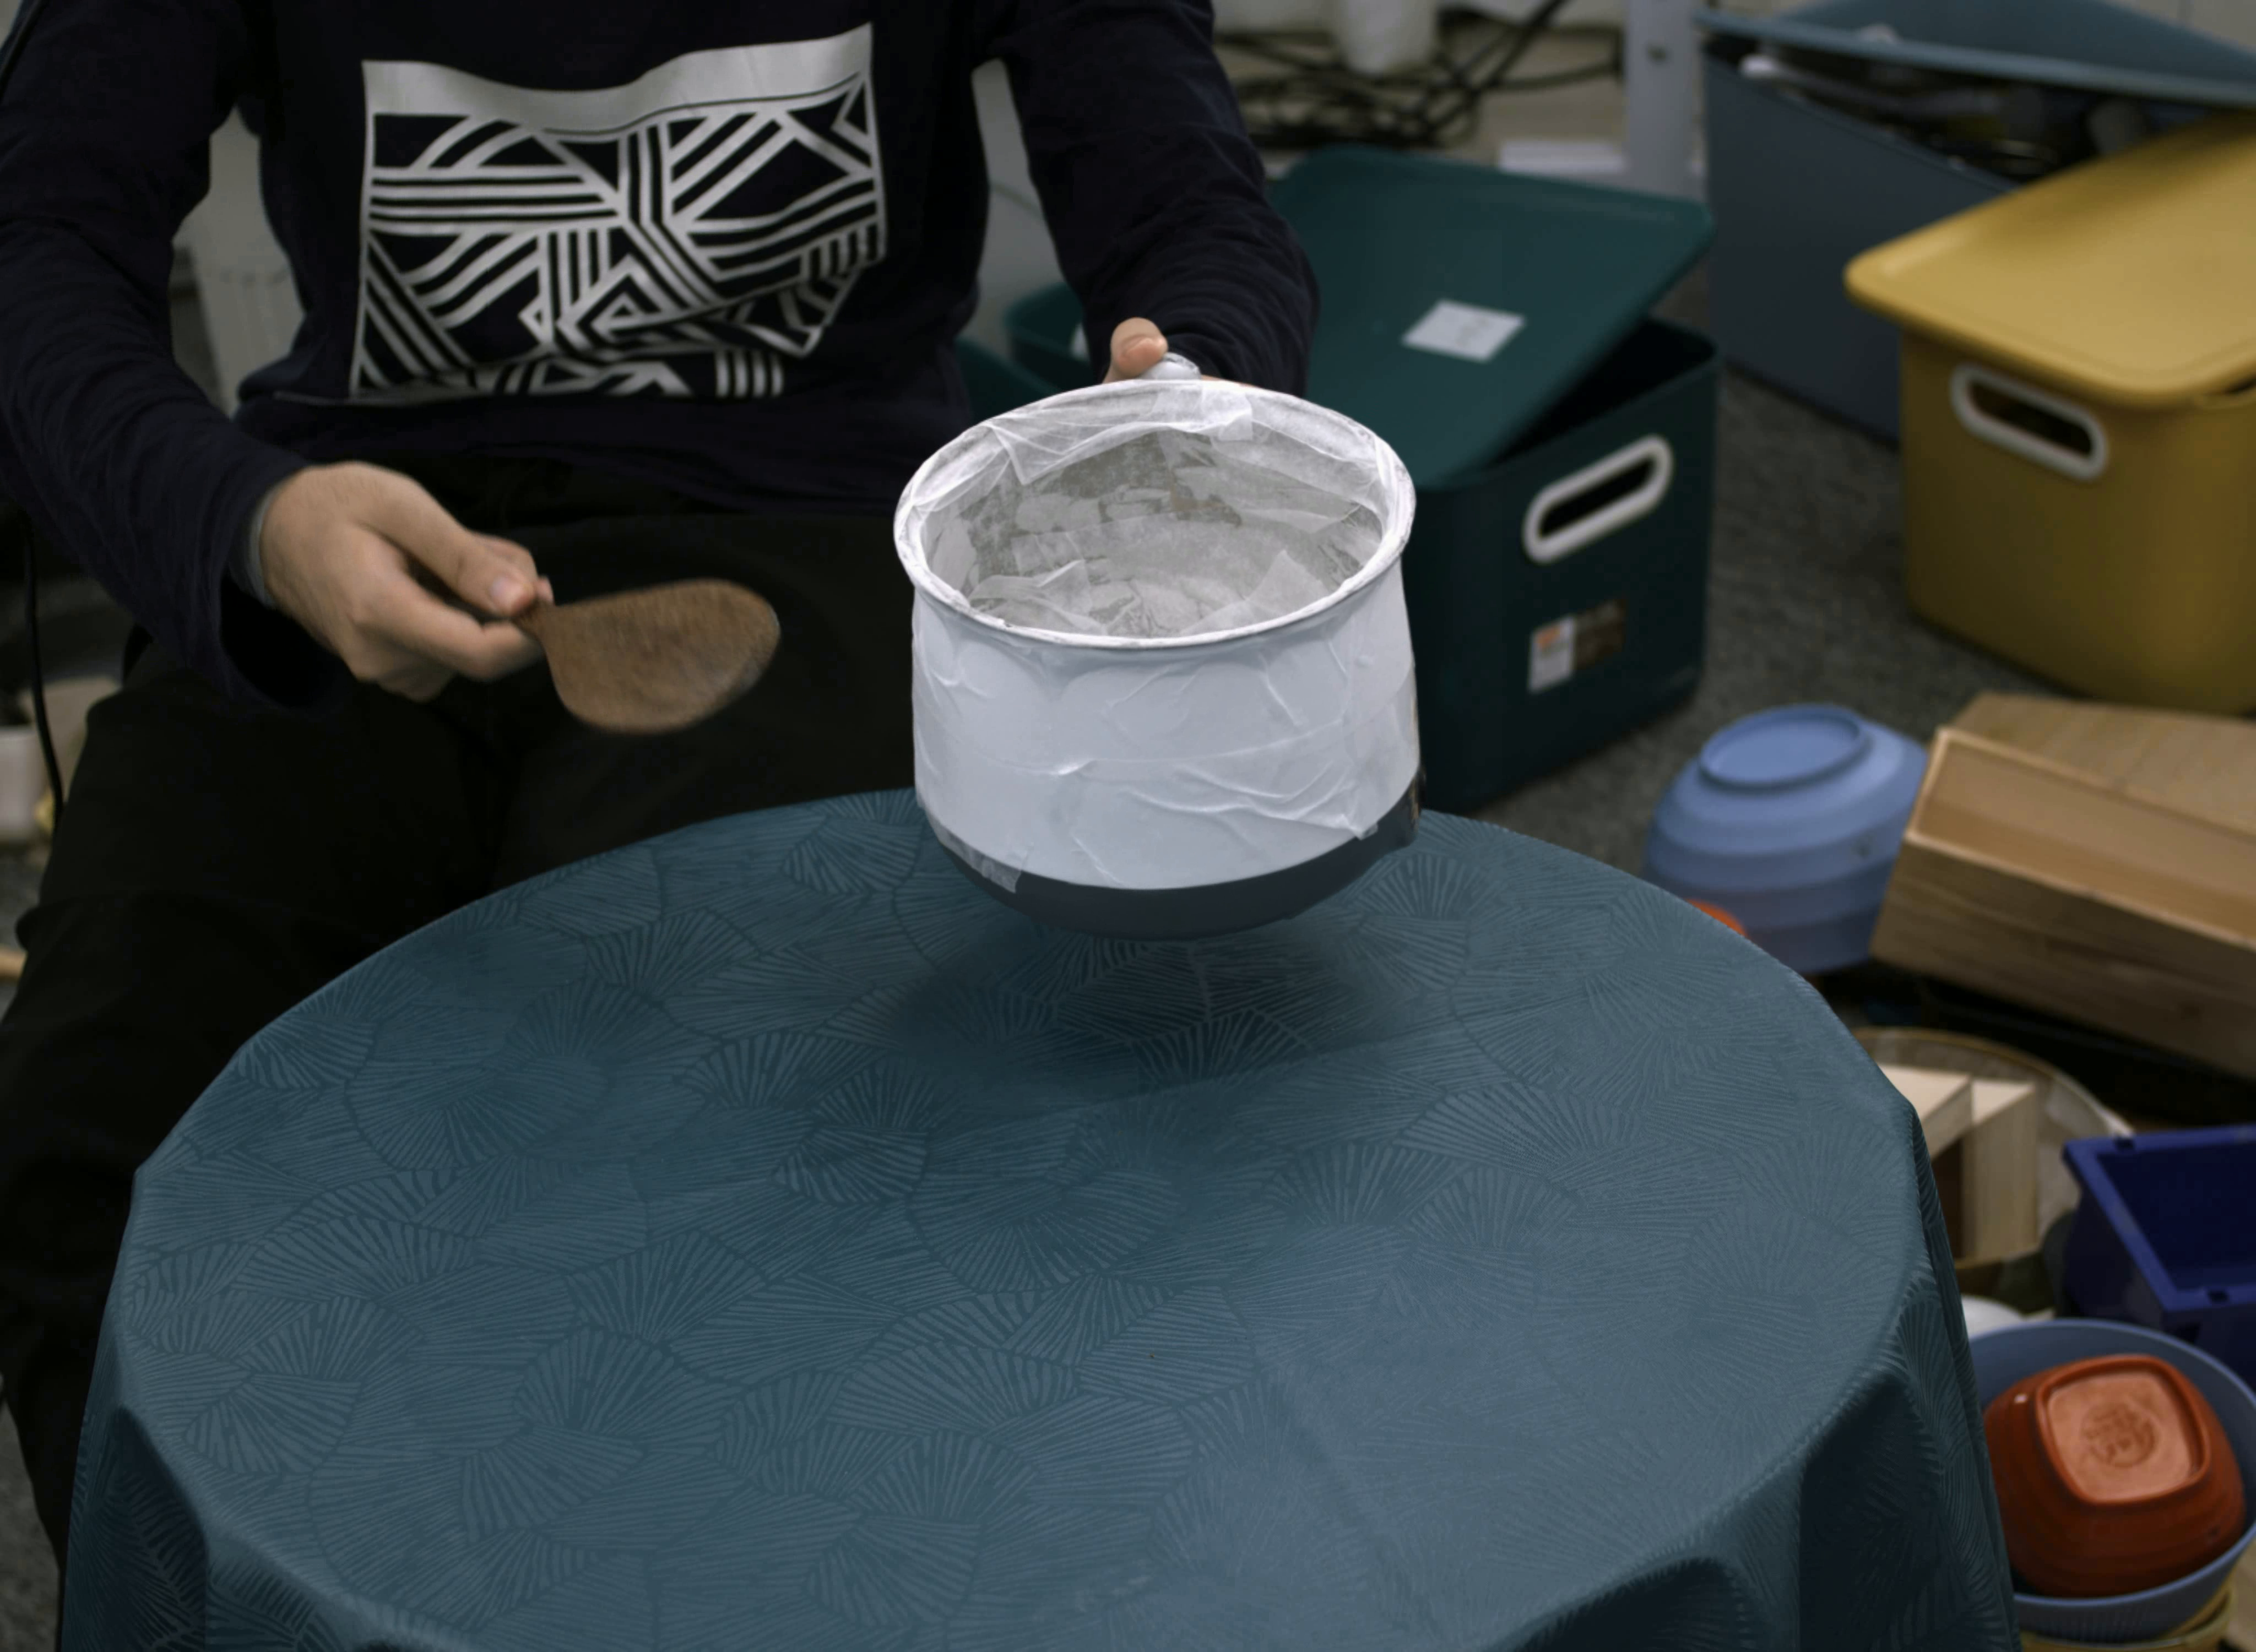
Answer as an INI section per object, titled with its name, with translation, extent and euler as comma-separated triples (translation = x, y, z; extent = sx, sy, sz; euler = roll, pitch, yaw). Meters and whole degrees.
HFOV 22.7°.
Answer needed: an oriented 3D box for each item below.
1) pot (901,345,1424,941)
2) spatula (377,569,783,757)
[pot]
translation = 0.013, -0.071, 1.954
extent = 0.178, 0.135, 0.238
euler = 0, 34, 1
[spatula]
translation = -0.195, -0.064, 1.950
extent = 0.073, 0.009, 0.215
euler = -43, 37, -24
